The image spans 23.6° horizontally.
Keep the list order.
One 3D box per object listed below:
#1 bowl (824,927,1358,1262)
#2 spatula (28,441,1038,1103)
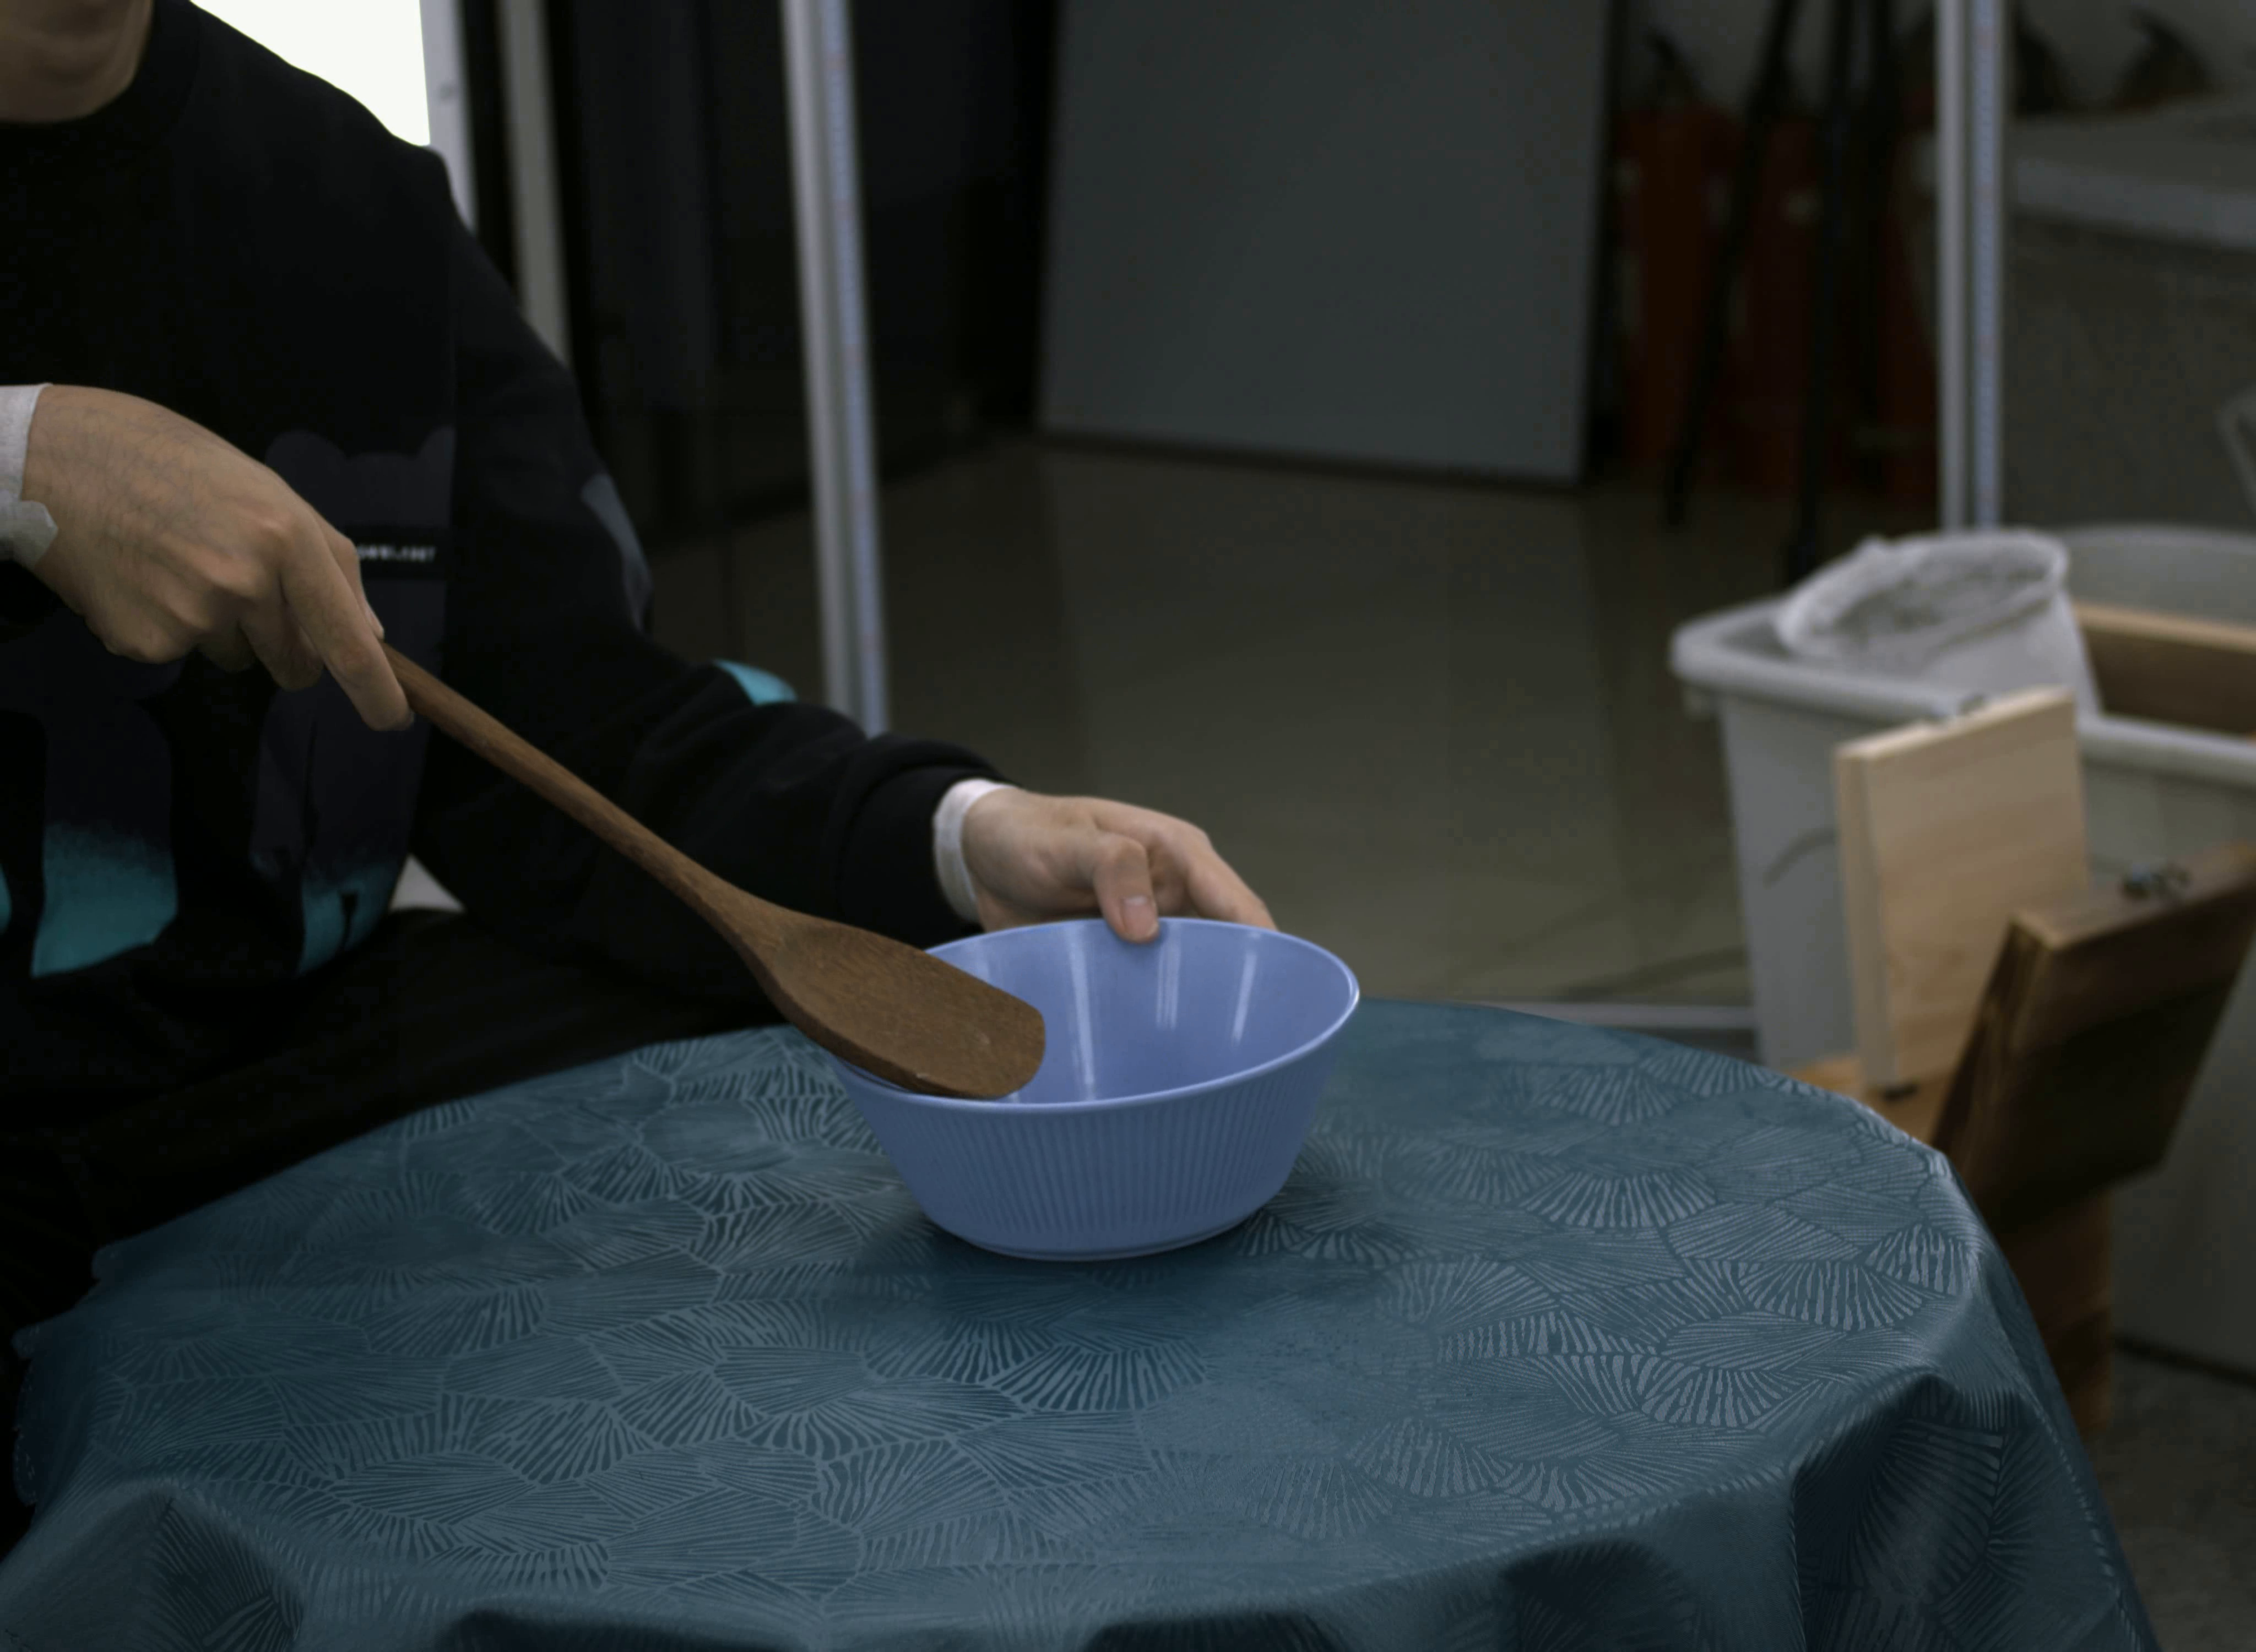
[{"bbox_3d":[-0.009,0.090,1.742,0.174,0.071,0.176,-5,15,1],"label":"bowl"},{"bbox_3d":[-0.193,-0.021,1.736,0.385,0.016,0.095,33,22,8],"label":"spatula"}]
